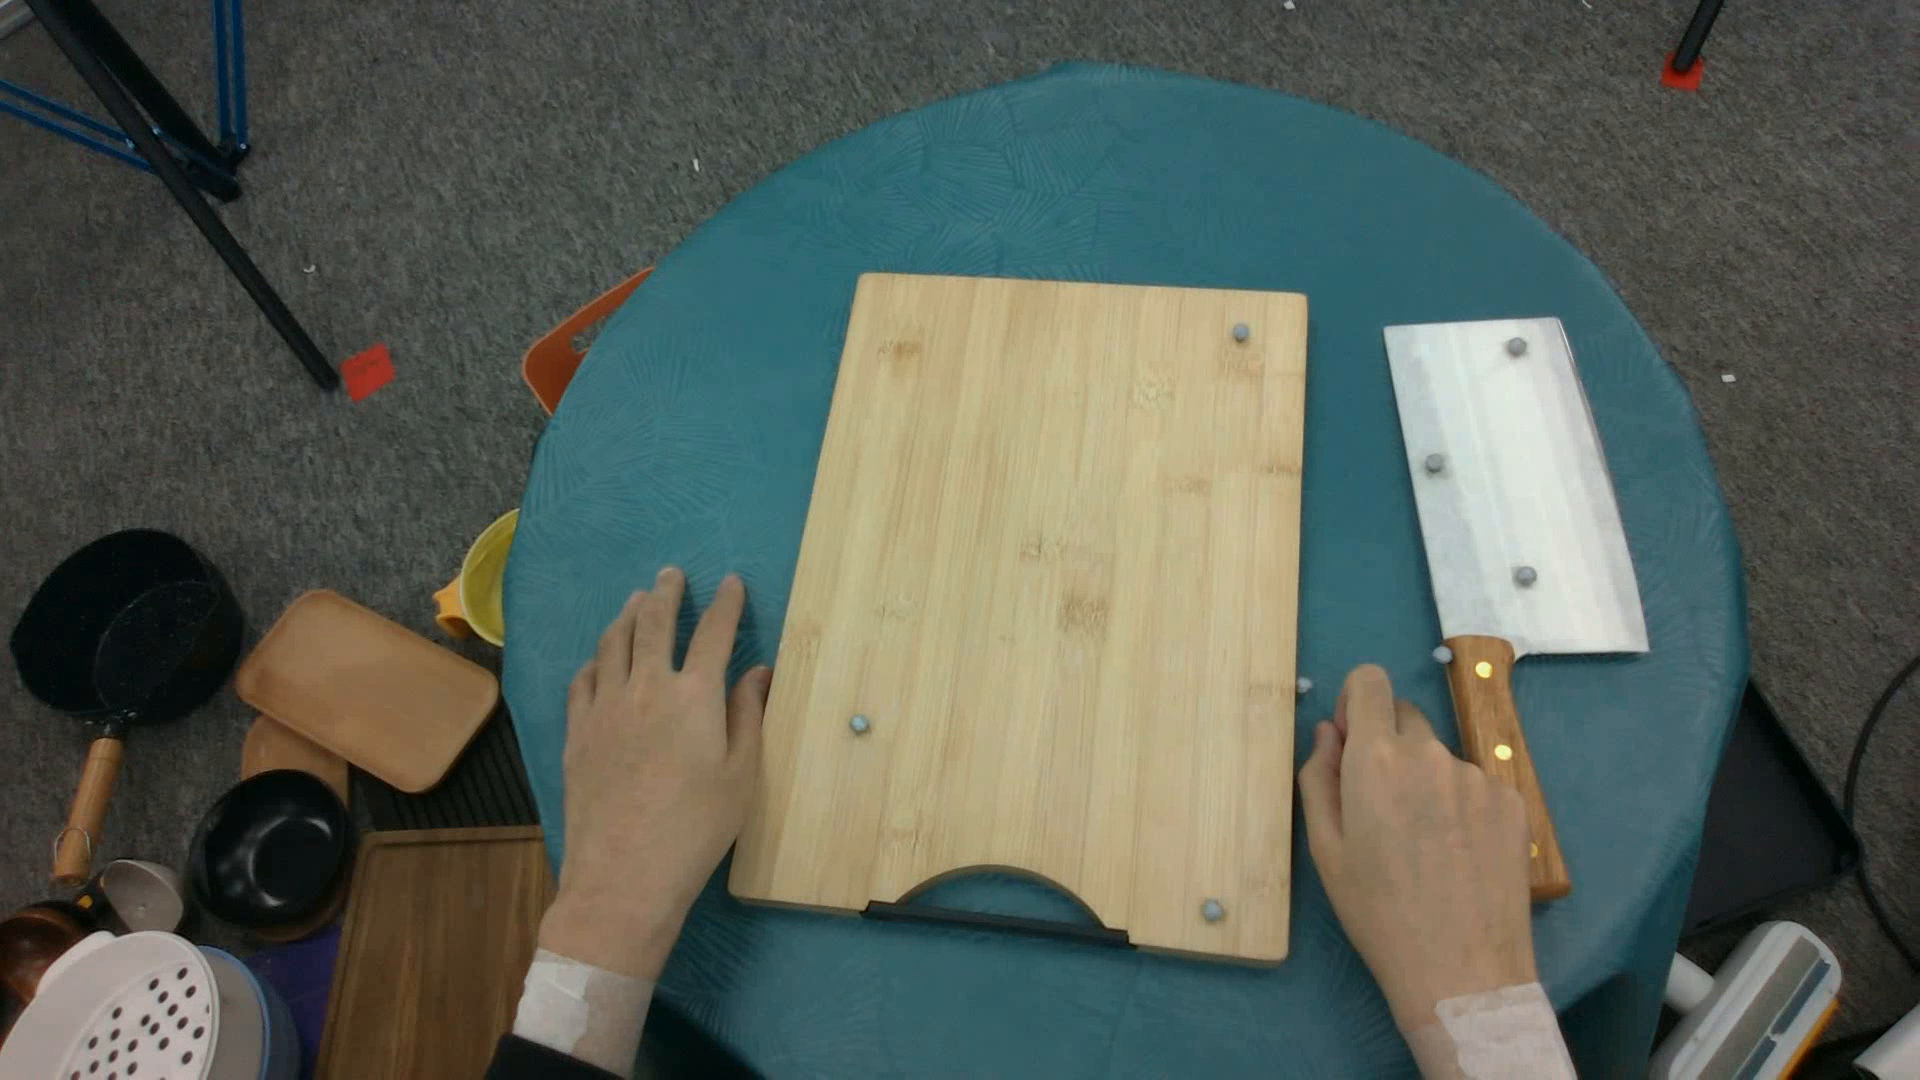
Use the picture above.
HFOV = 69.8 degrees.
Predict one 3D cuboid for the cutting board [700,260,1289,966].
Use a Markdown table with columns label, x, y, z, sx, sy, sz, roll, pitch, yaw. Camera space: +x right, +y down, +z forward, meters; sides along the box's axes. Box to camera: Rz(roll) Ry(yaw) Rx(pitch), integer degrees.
| label | x | y | z | sx | sy | sz | roll | pitch | yaw |
| --- | --- | --- | --- | --- | --- | --- | --- | --- | --- |
| cutting board | 0.030 | 0.014 | 0.662 | 0.250 | 0.023 | 0.350 | 3 | 63 | 7 |

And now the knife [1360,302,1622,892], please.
| label | x | y | z | sx | sy | sz | roll | pitch | yaw |
| --- | --- | --- | --- | --- | --- | --- | --- | --- | --- |
| knife | 0.255 | 0.010 | 0.644 | 0.093 | 0.021 | 0.307 | -2 | 60 | 2 |
